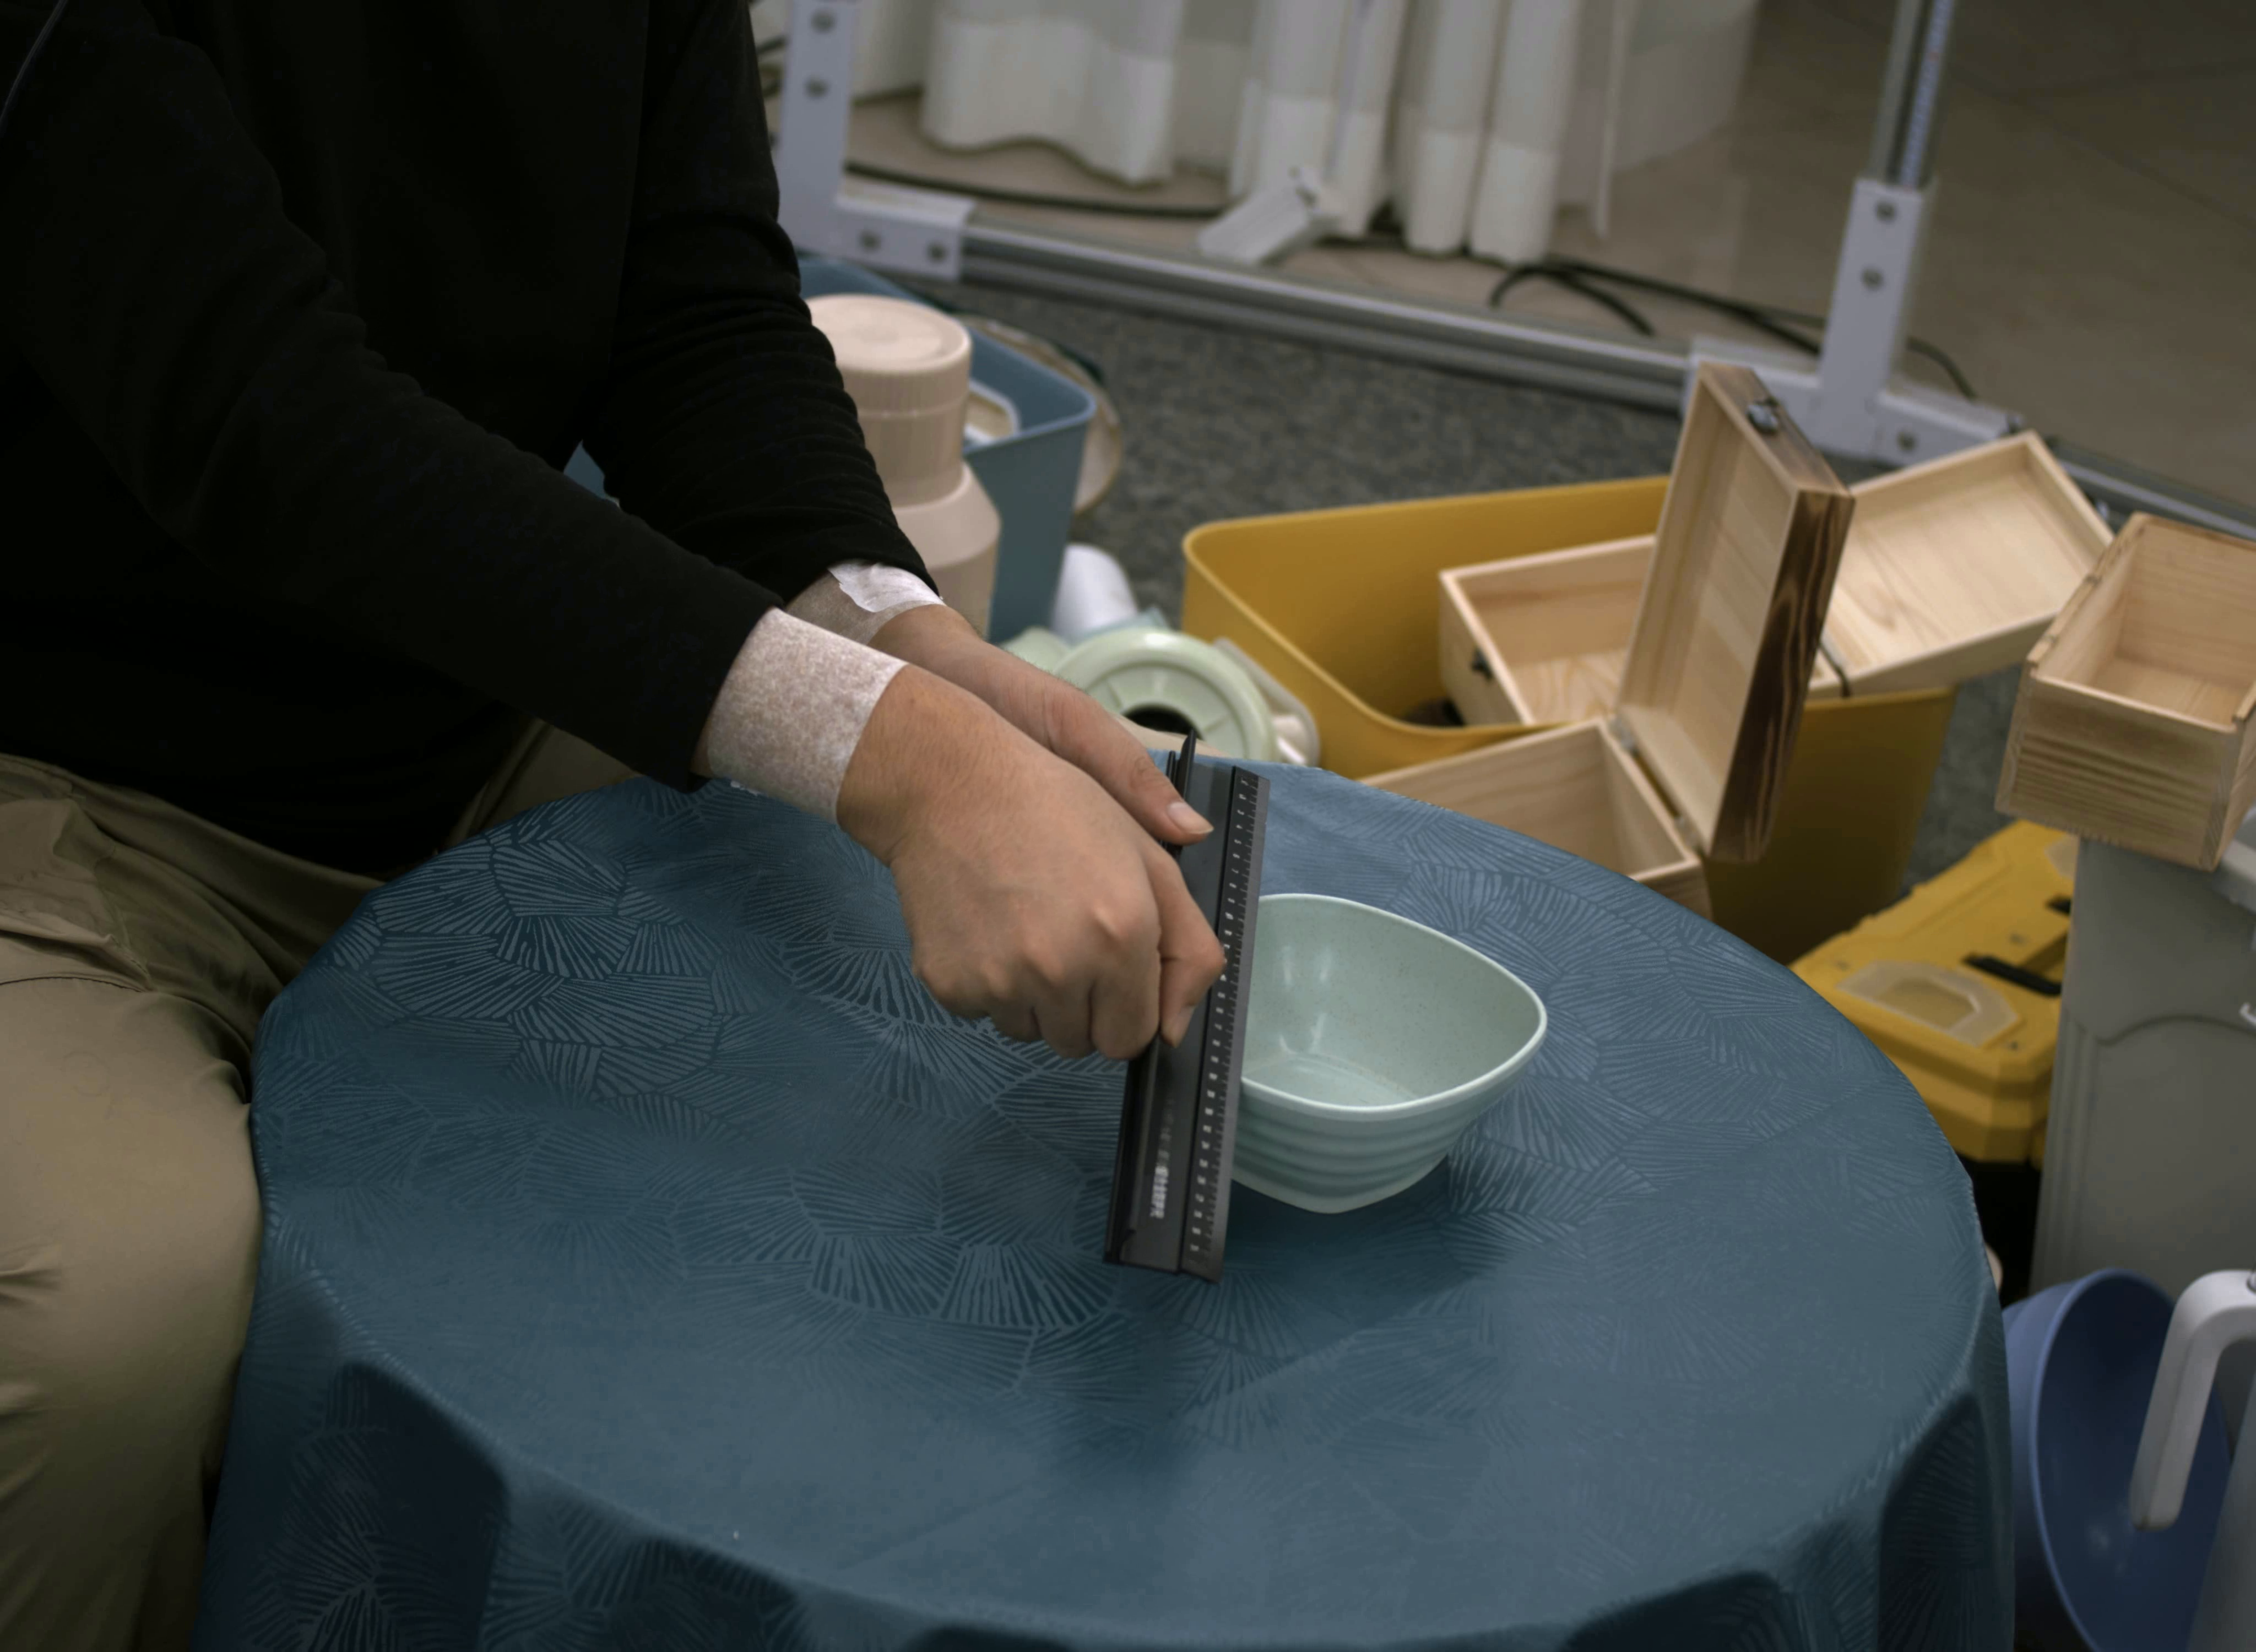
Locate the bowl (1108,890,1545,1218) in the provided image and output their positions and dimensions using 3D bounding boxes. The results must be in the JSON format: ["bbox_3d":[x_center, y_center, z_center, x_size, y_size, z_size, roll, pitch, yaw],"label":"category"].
[{"bbox_3d":[0.065,0.084,1.833,0.151,0.058,0.152,5,29,-3],"label":"bowl"}]

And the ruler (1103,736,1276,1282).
[{"bbox_3d":[0.024,0.055,1.792,0.039,0.017,0.314,13,31,-2],"label":"ruler"}]
